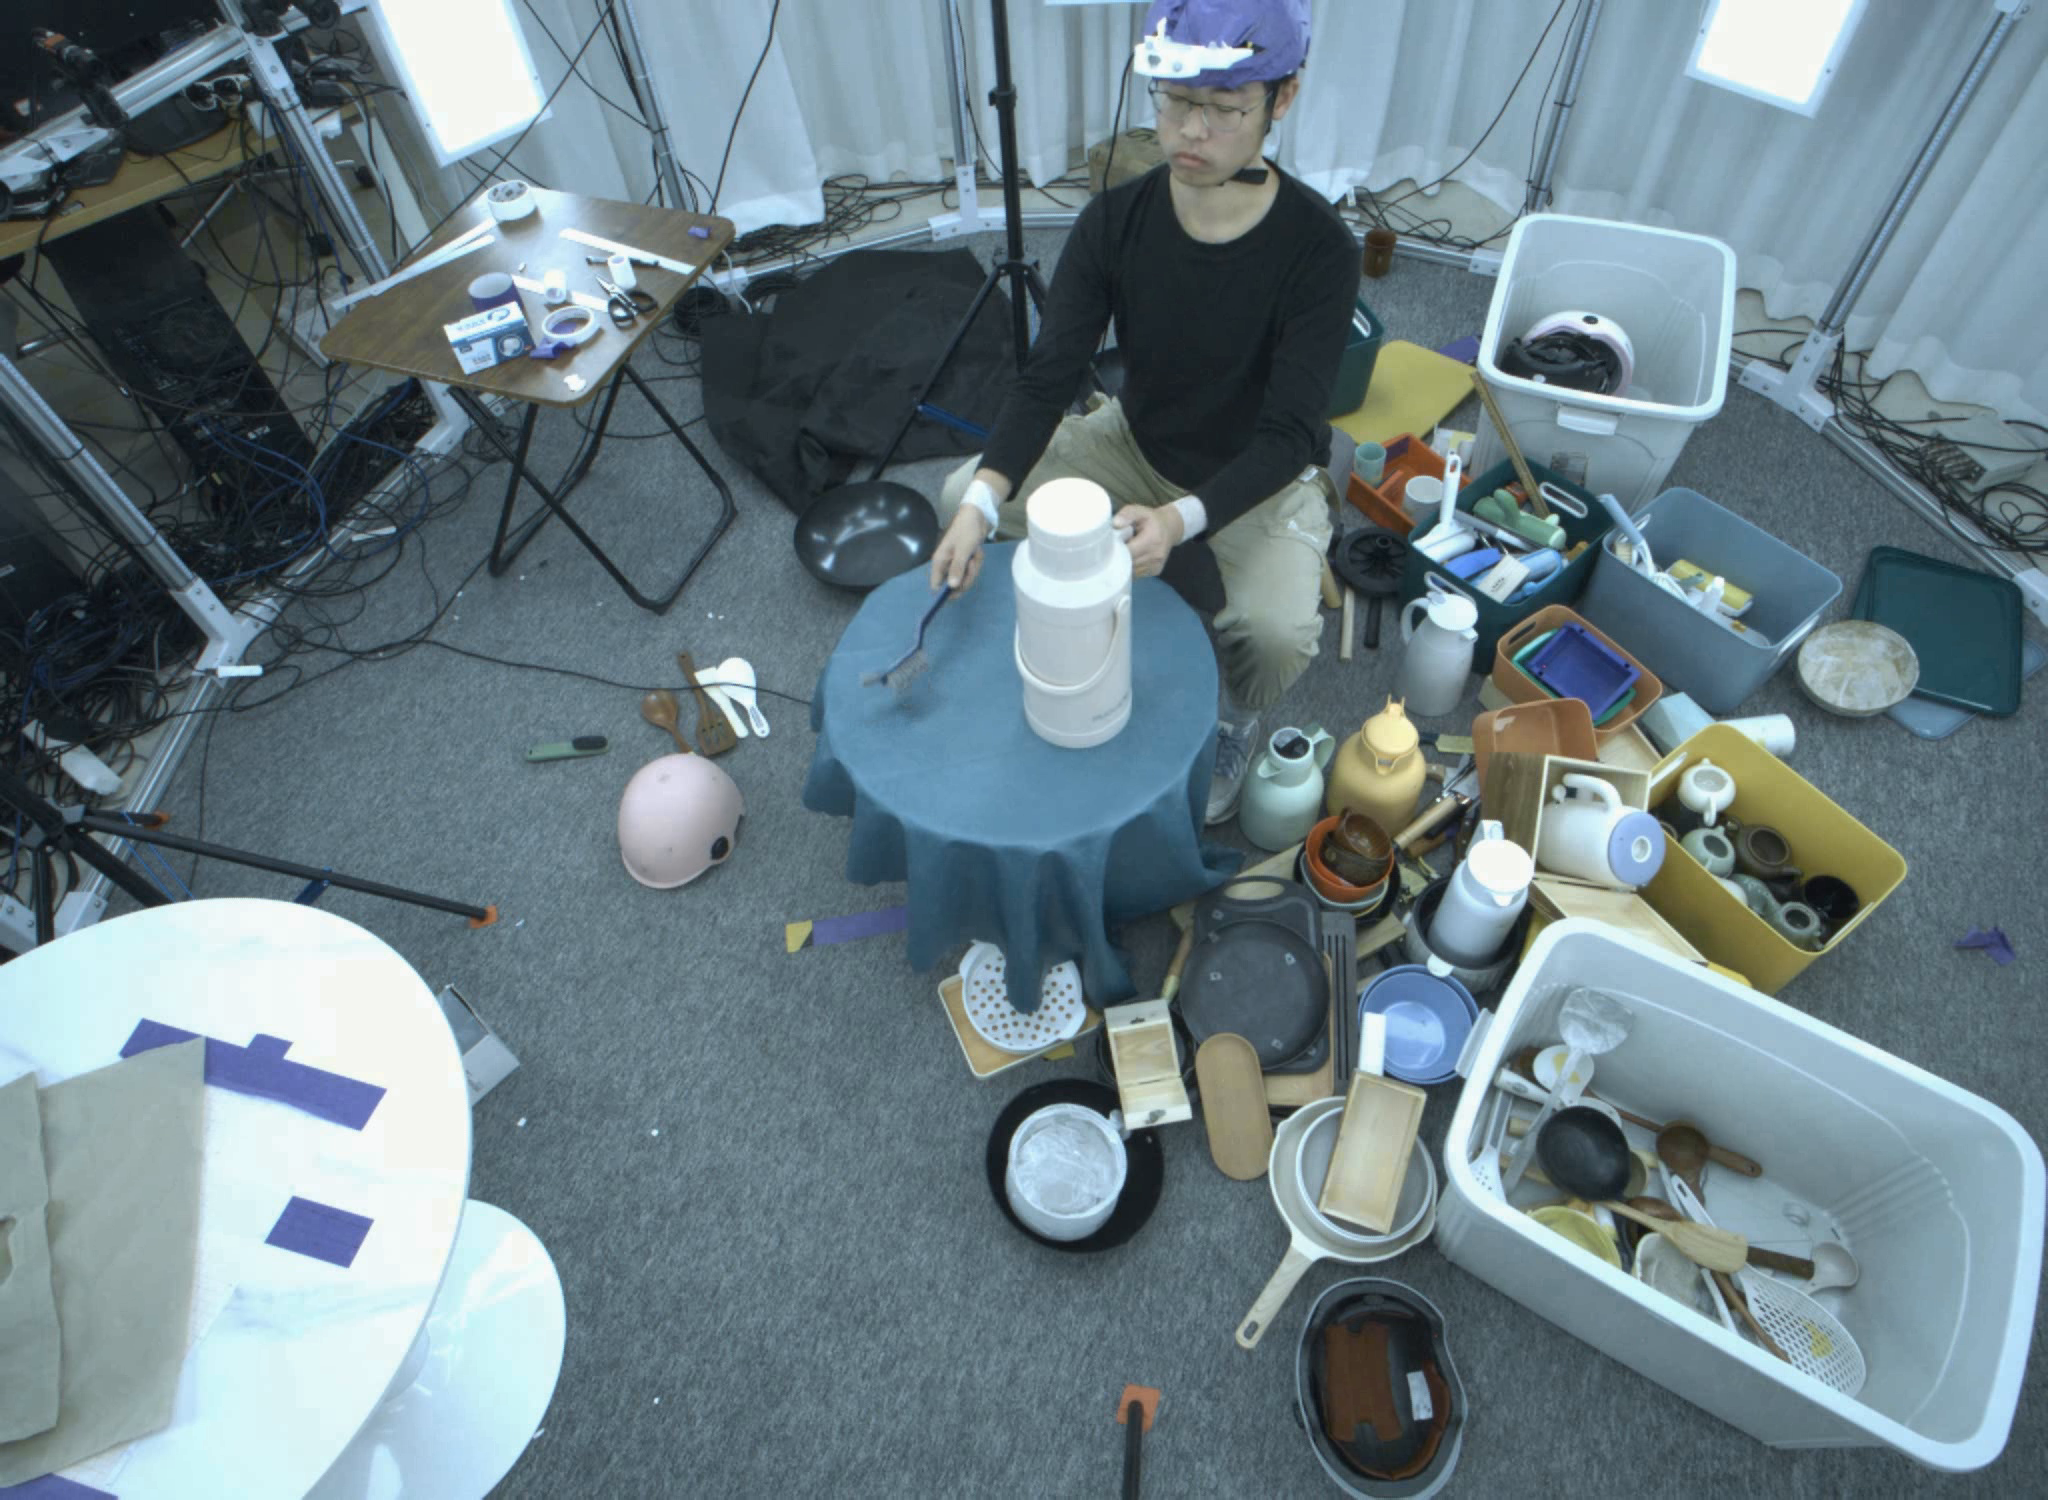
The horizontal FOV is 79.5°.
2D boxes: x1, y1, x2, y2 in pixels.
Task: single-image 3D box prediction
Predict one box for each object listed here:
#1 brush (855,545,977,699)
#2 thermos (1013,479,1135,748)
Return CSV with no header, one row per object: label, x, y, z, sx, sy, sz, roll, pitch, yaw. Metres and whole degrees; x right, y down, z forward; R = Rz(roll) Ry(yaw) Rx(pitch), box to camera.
brush,-0.156,-0.199,1.843,0.095,0.034,0.273,19,70,13
thermos,0.080,-0.190,1.675,0.172,0.411,0.208,31,63,25
